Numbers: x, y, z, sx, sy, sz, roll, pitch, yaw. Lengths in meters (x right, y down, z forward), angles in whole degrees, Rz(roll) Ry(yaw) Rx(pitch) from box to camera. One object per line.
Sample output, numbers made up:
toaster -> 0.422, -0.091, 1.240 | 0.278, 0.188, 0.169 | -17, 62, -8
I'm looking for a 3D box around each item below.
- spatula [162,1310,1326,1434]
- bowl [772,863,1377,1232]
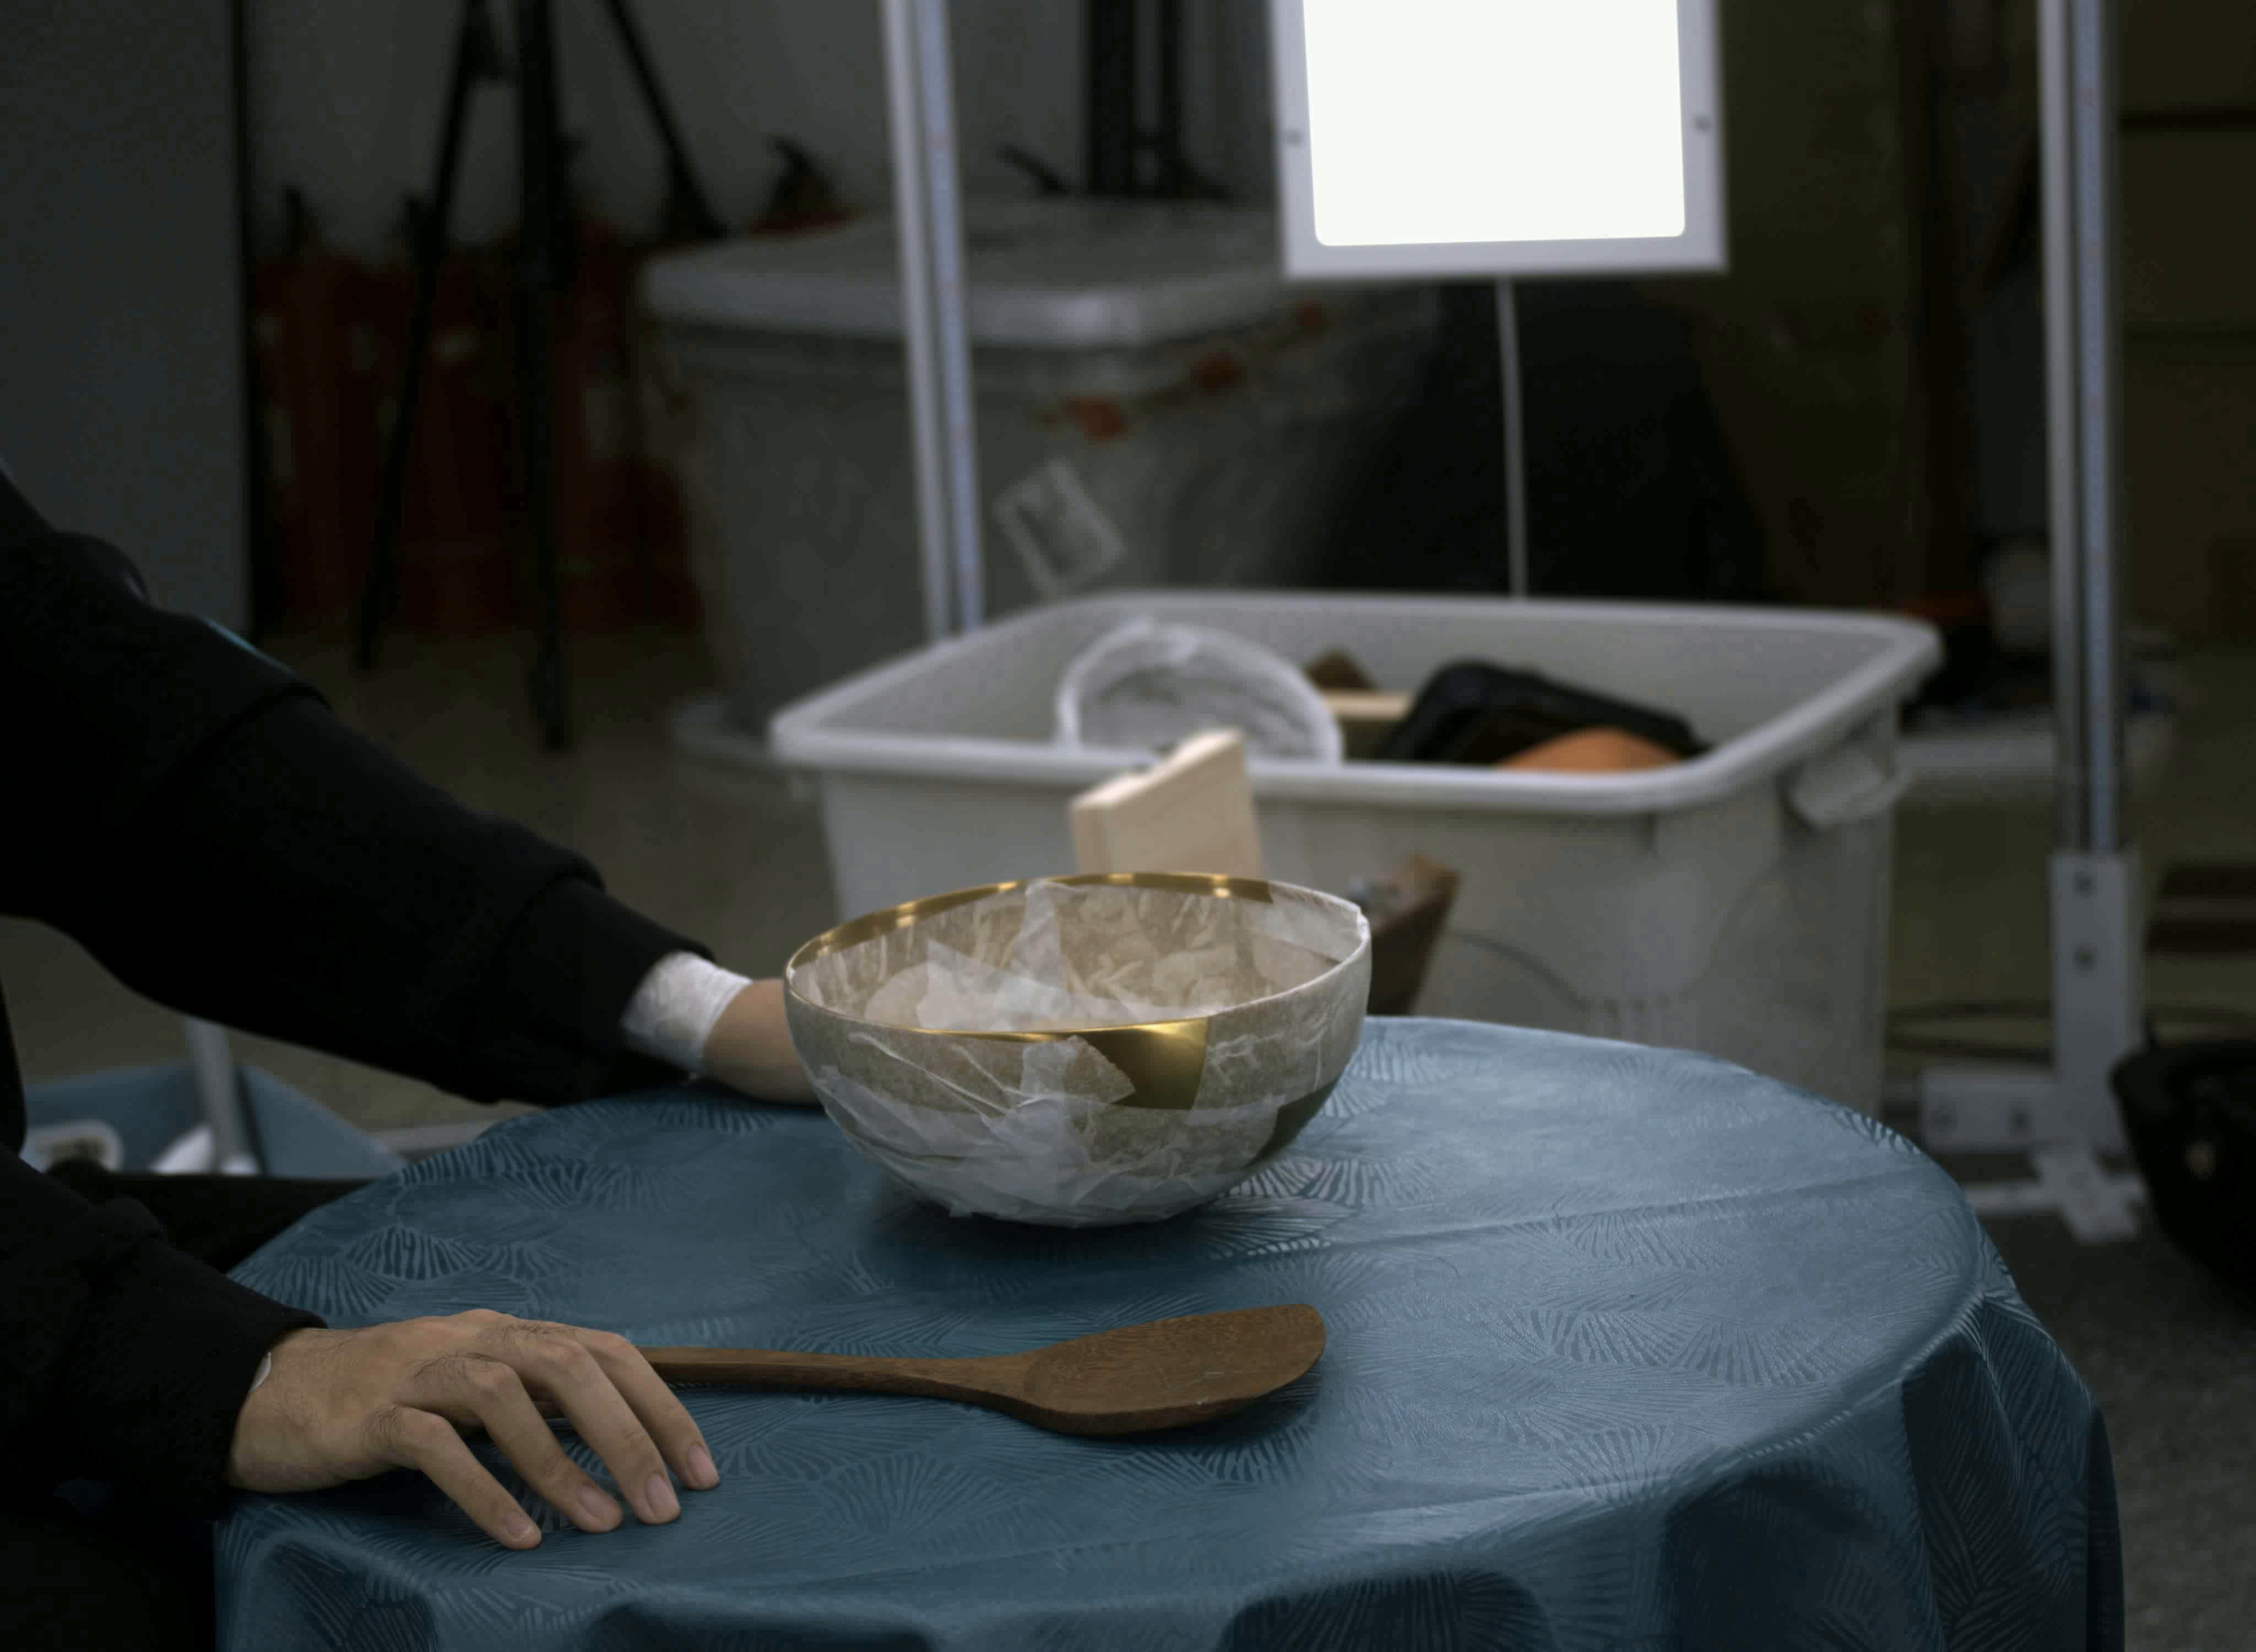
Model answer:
spatula -> -0.127, 0.170, 1.737 | 0.390, 0.016, 0.094 | -1, 14, 17
bowl -> -0.015, 0.083, 1.885 | 0.214, 0.095, 0.214 | -7, 15, 0
